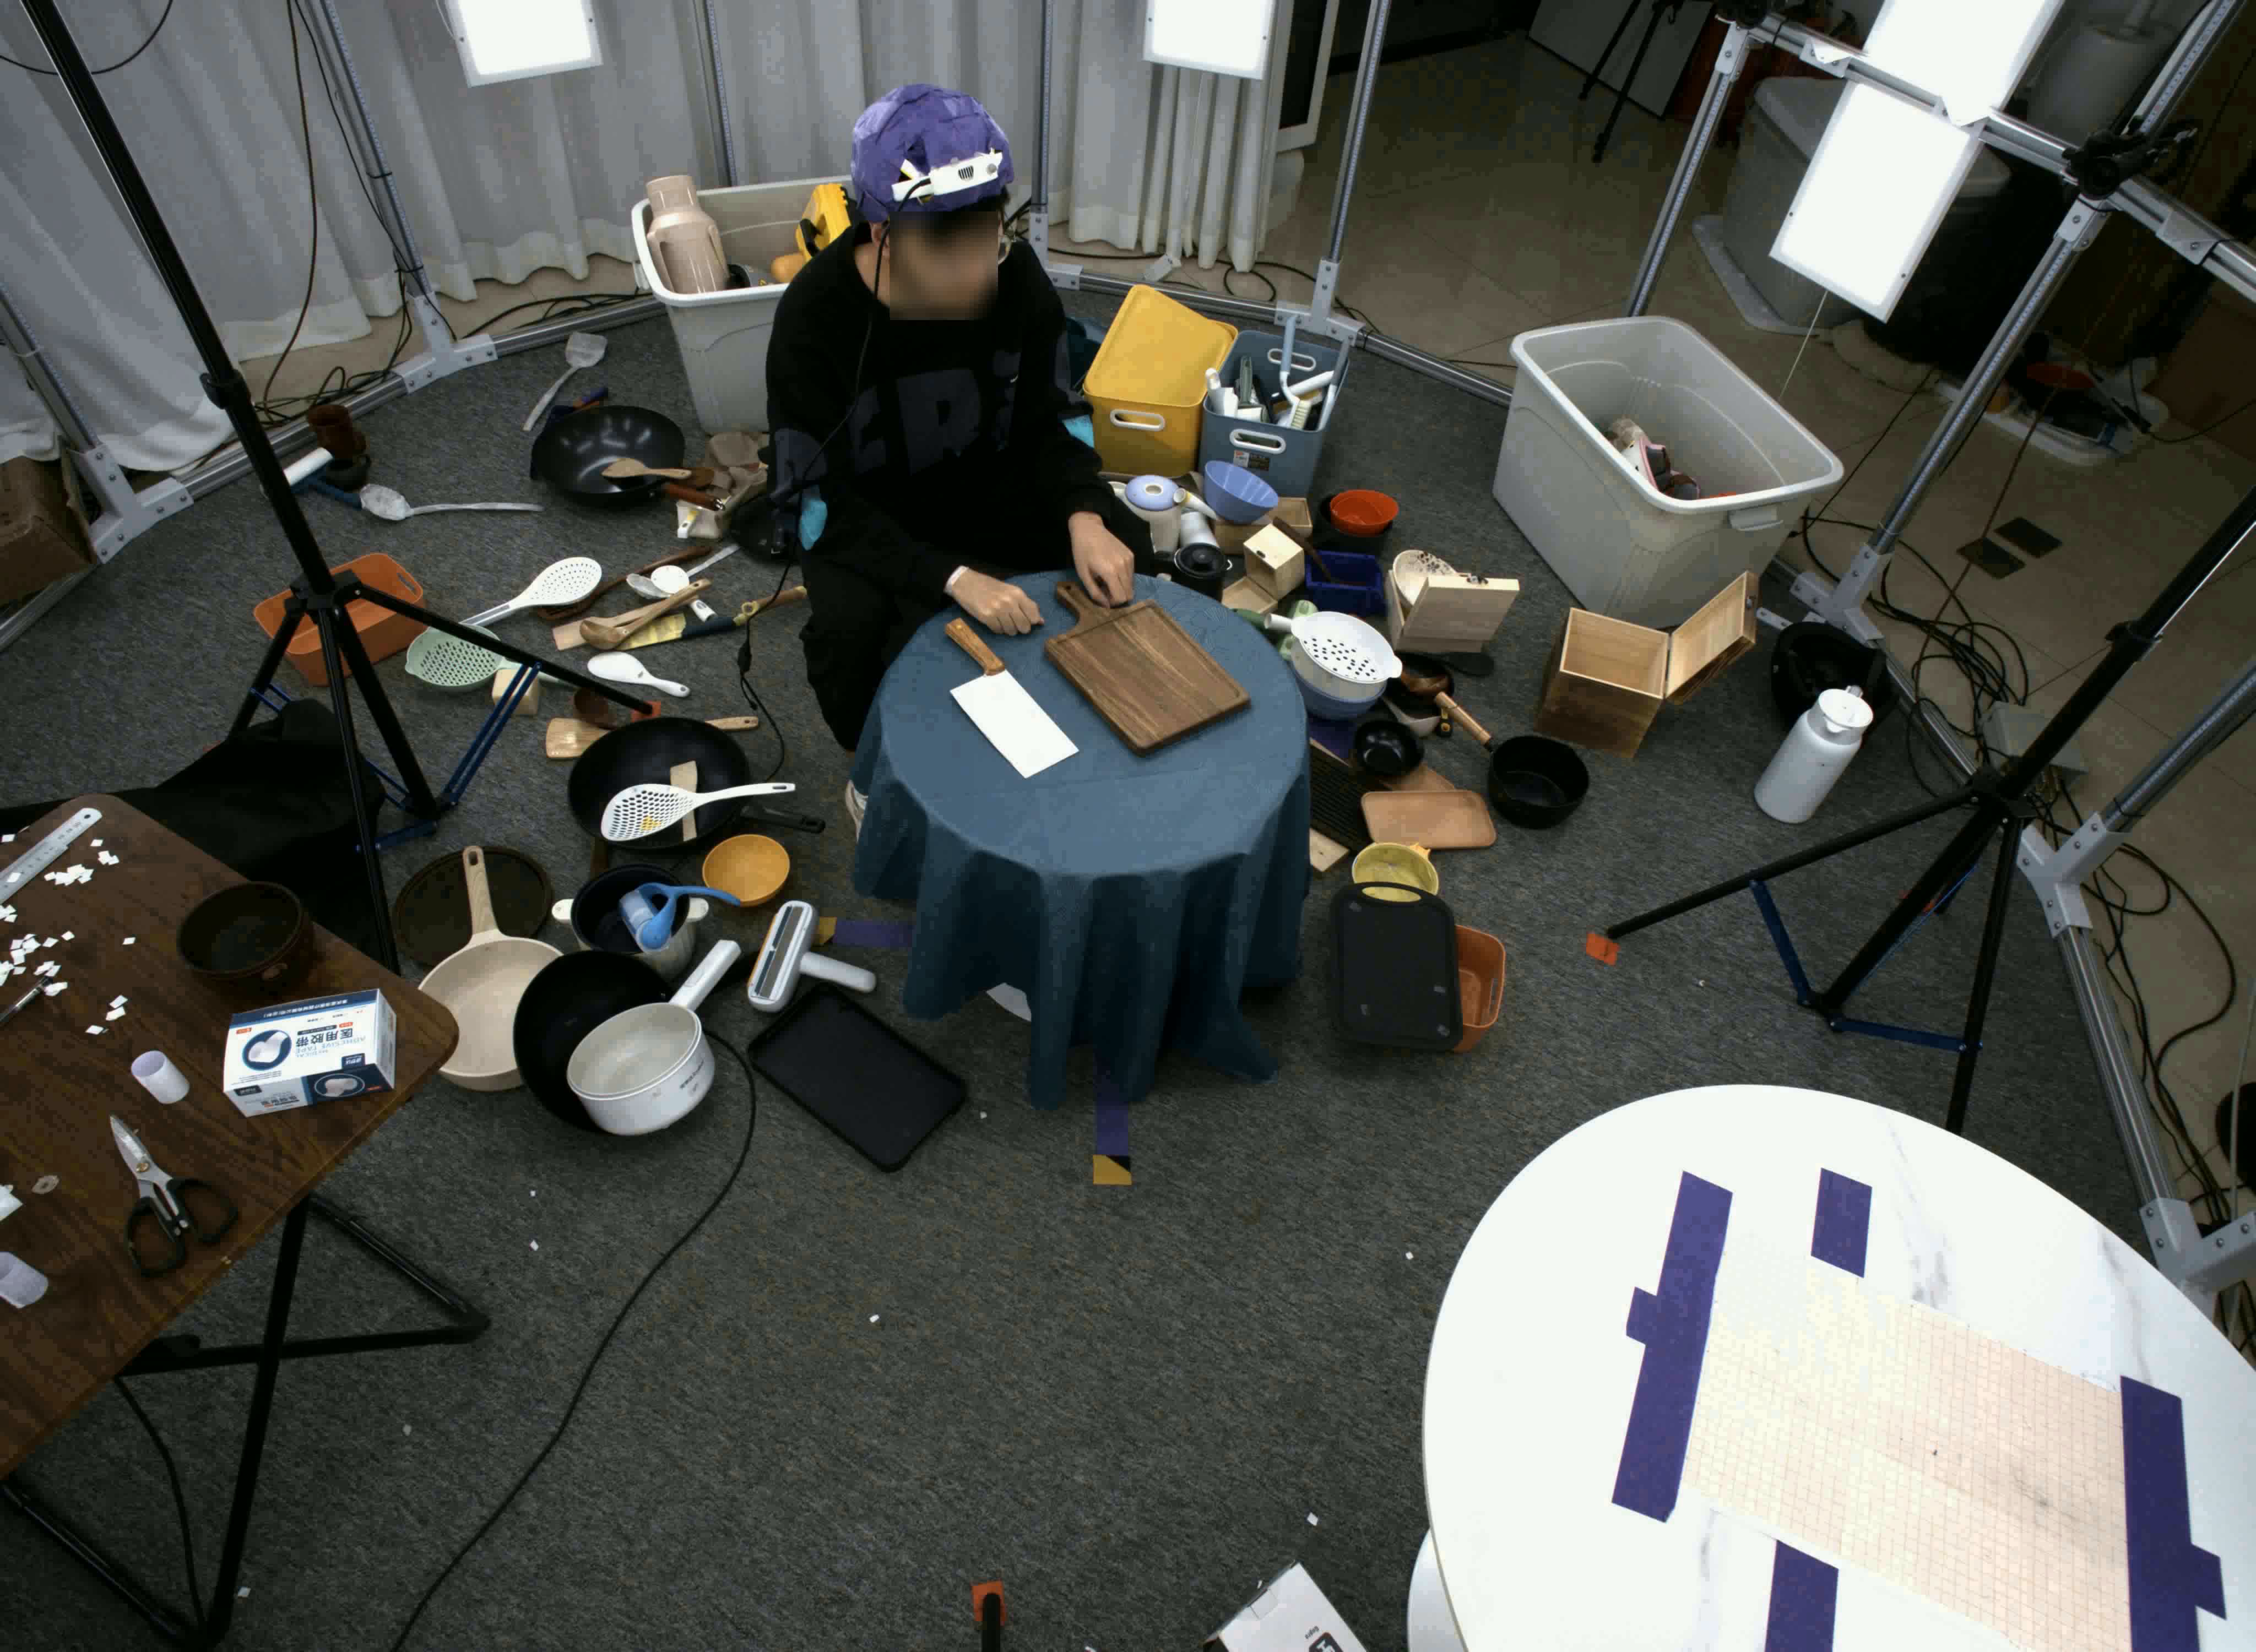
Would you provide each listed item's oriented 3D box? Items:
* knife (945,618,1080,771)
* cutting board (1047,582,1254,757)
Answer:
[{"bbox_3d":[-0.187,-0.185,1.807,0.093,0.020,0.311,-28,59,-23],"label":"knife"},{"bbox_3d":[0.002,-0.251,1.873,0.202,0.022,0.359,-26,55,-24],"label":"cutting board"}]
